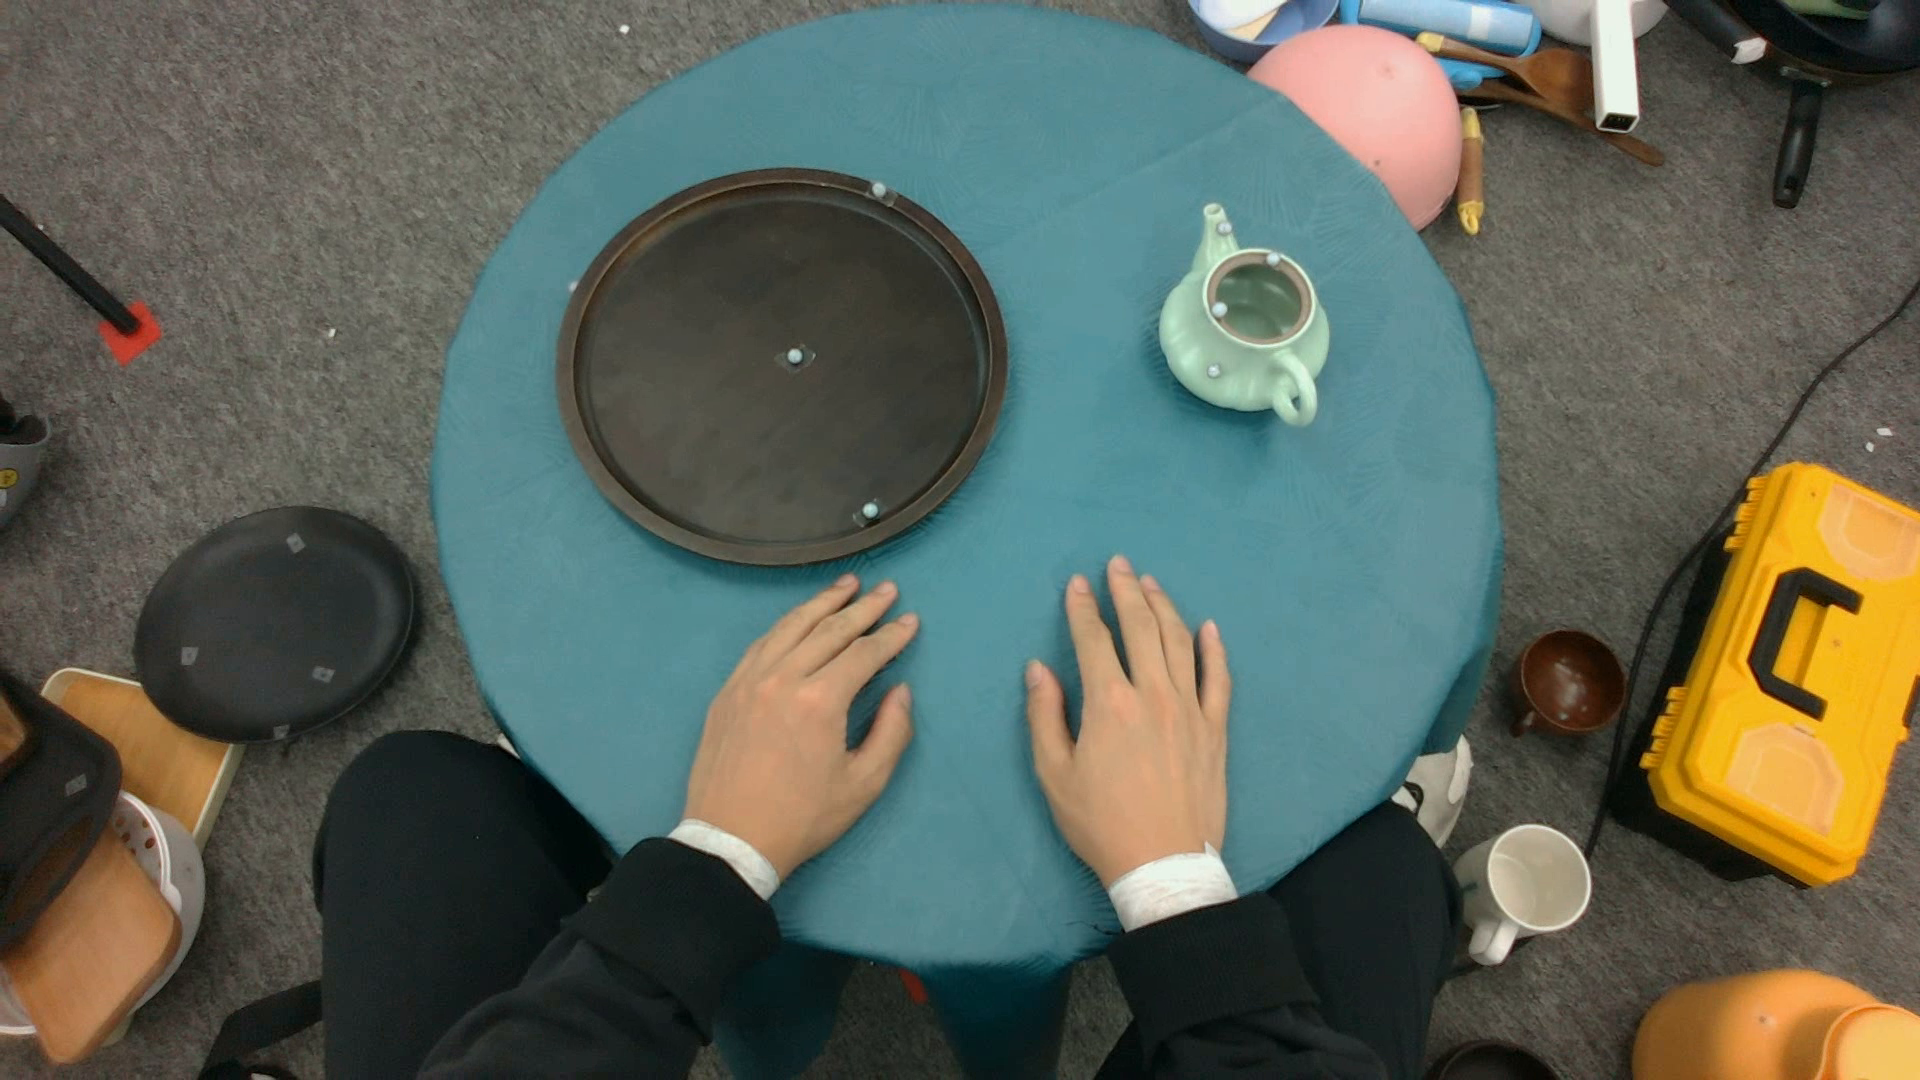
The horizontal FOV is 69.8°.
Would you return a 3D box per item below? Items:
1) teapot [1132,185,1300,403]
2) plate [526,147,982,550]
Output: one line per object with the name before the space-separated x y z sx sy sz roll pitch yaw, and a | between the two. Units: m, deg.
teapot | 0.149 -0.131 0.776 0.096 0.061 0.137 -22 71 -12
plate | -0.114 -0.111 0.776 0.255 0.029 0.255 1 68 -3
